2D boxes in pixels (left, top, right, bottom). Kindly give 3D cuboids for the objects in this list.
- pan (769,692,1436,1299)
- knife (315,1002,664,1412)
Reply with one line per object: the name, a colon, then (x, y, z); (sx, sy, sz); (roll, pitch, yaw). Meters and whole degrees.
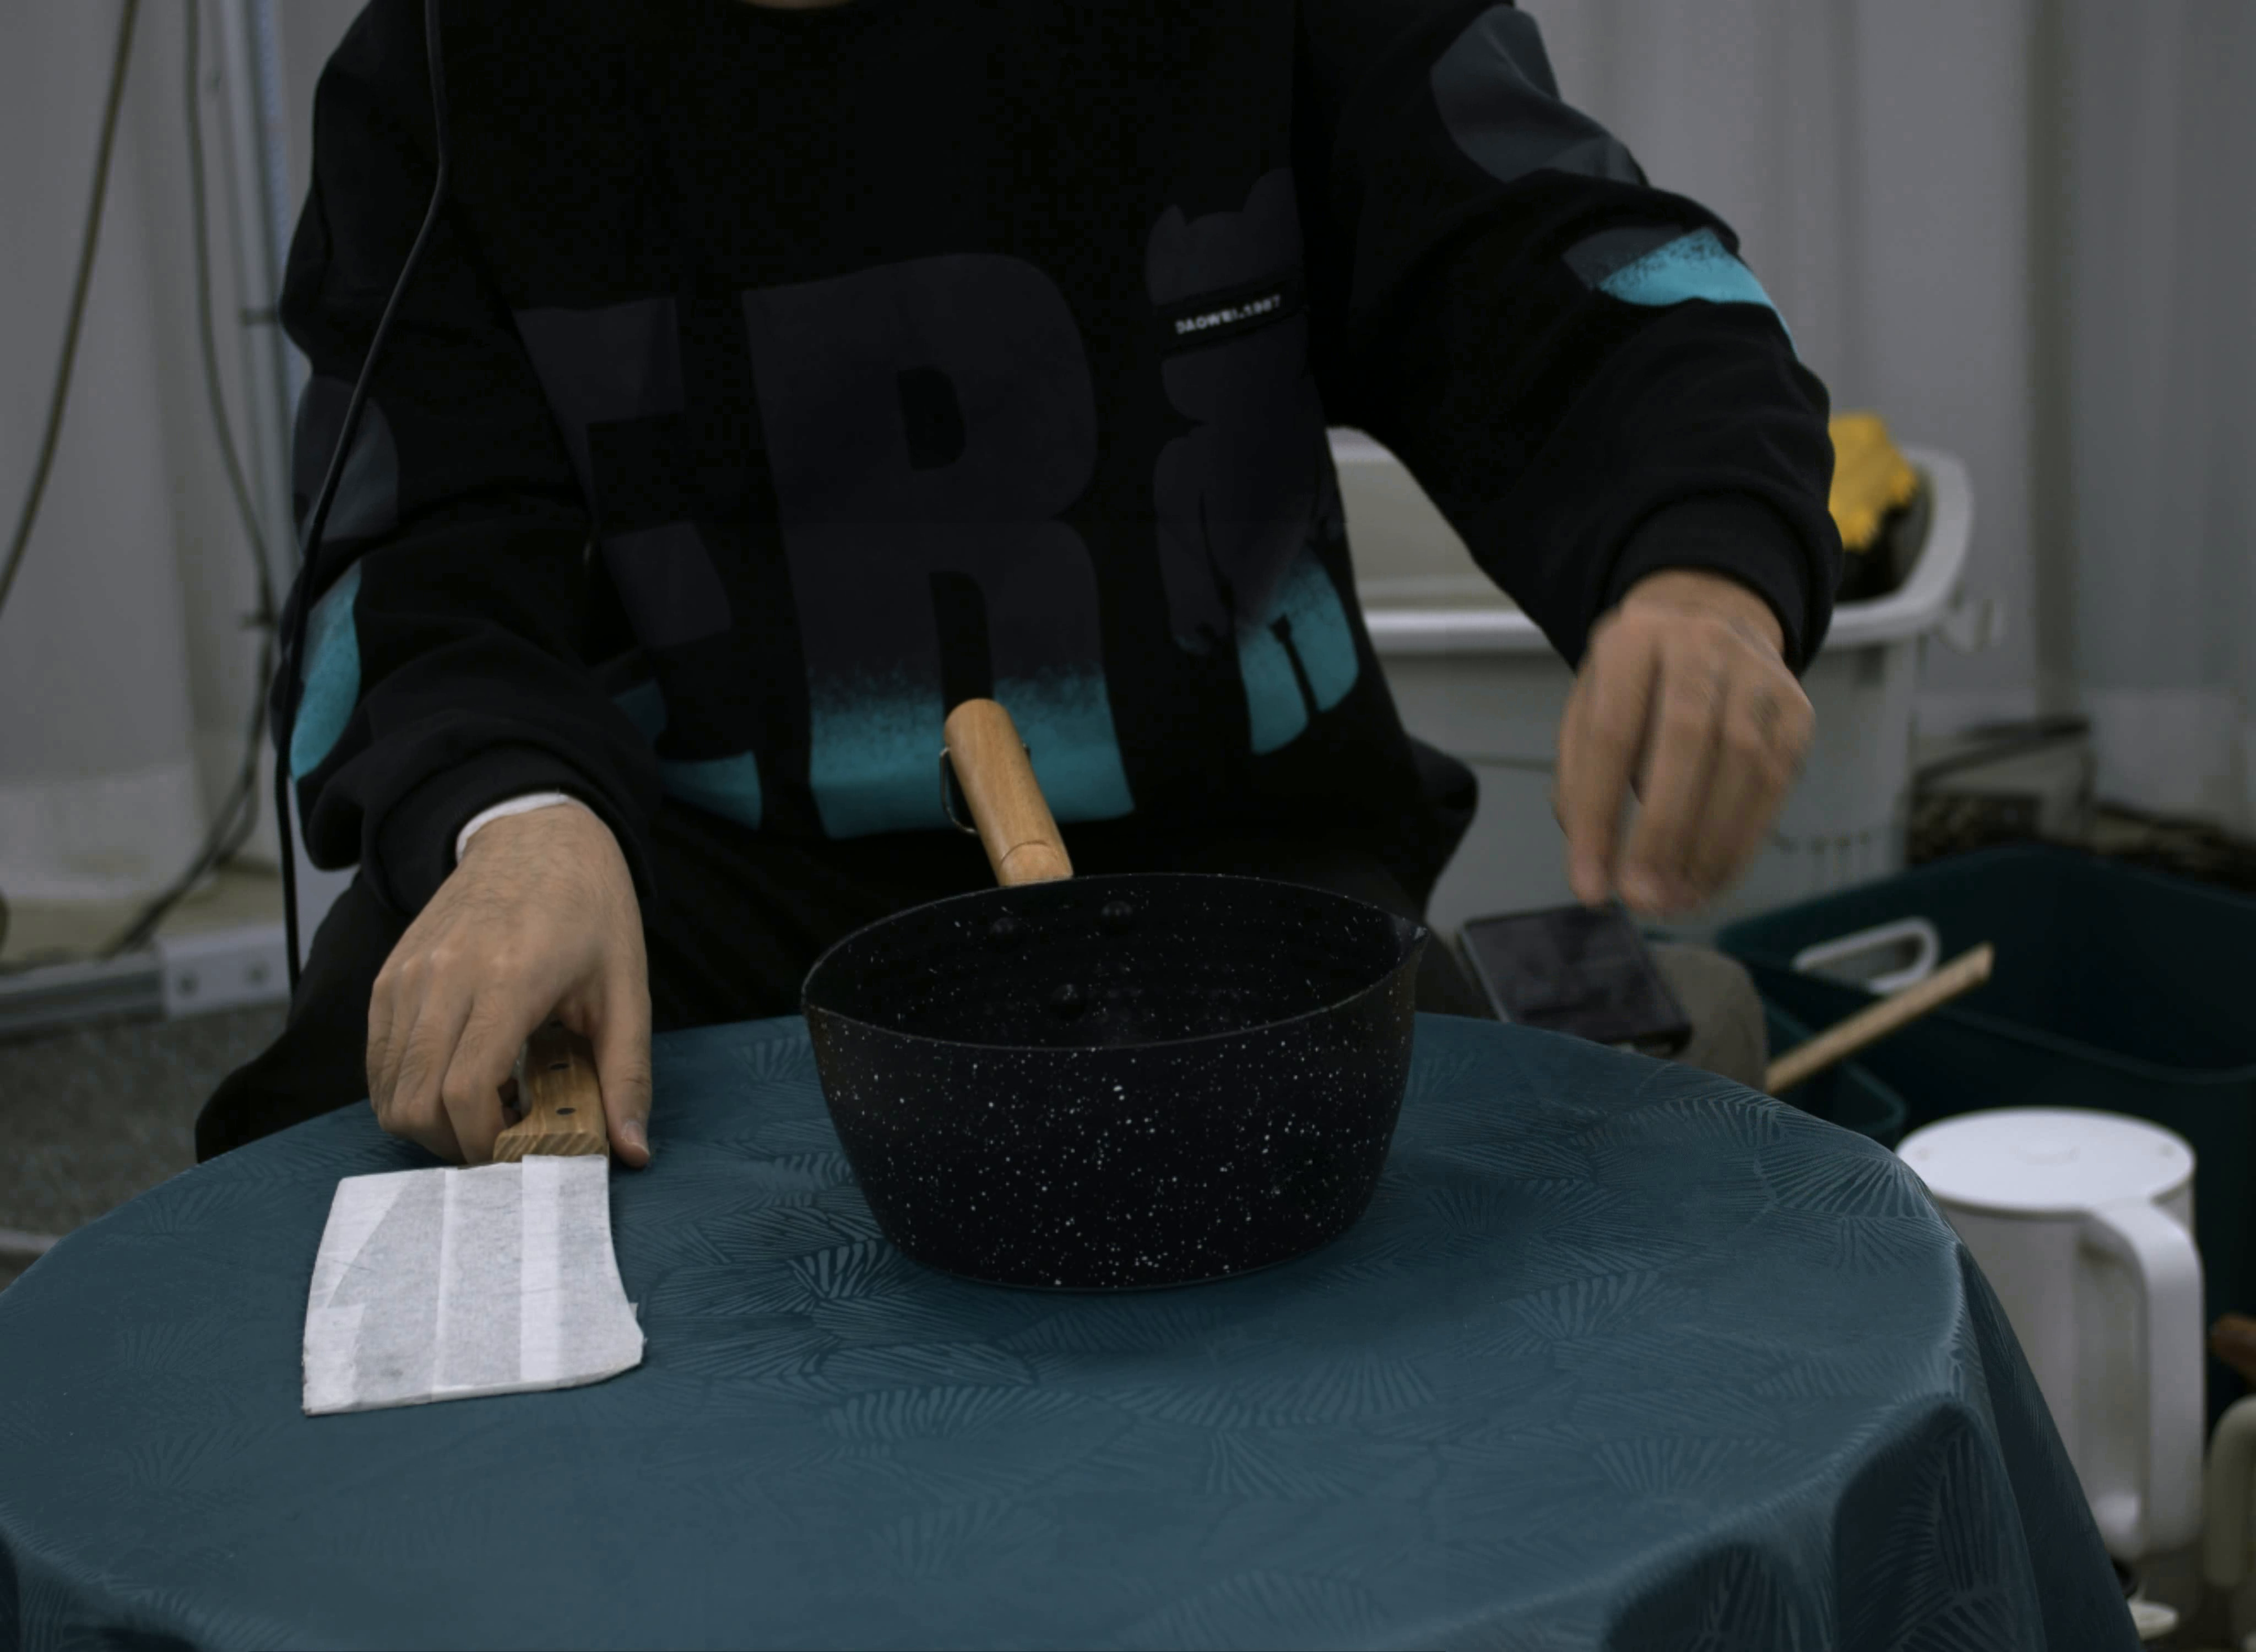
pan: (-0.022, 0.049, 1.755); (0.206, 0.108, 0.346); (-7, 16, -12)
knife: (-0.195, 0.117, 1.710); (0.113, 0.021, 0.318); (-4, 18, -1)
